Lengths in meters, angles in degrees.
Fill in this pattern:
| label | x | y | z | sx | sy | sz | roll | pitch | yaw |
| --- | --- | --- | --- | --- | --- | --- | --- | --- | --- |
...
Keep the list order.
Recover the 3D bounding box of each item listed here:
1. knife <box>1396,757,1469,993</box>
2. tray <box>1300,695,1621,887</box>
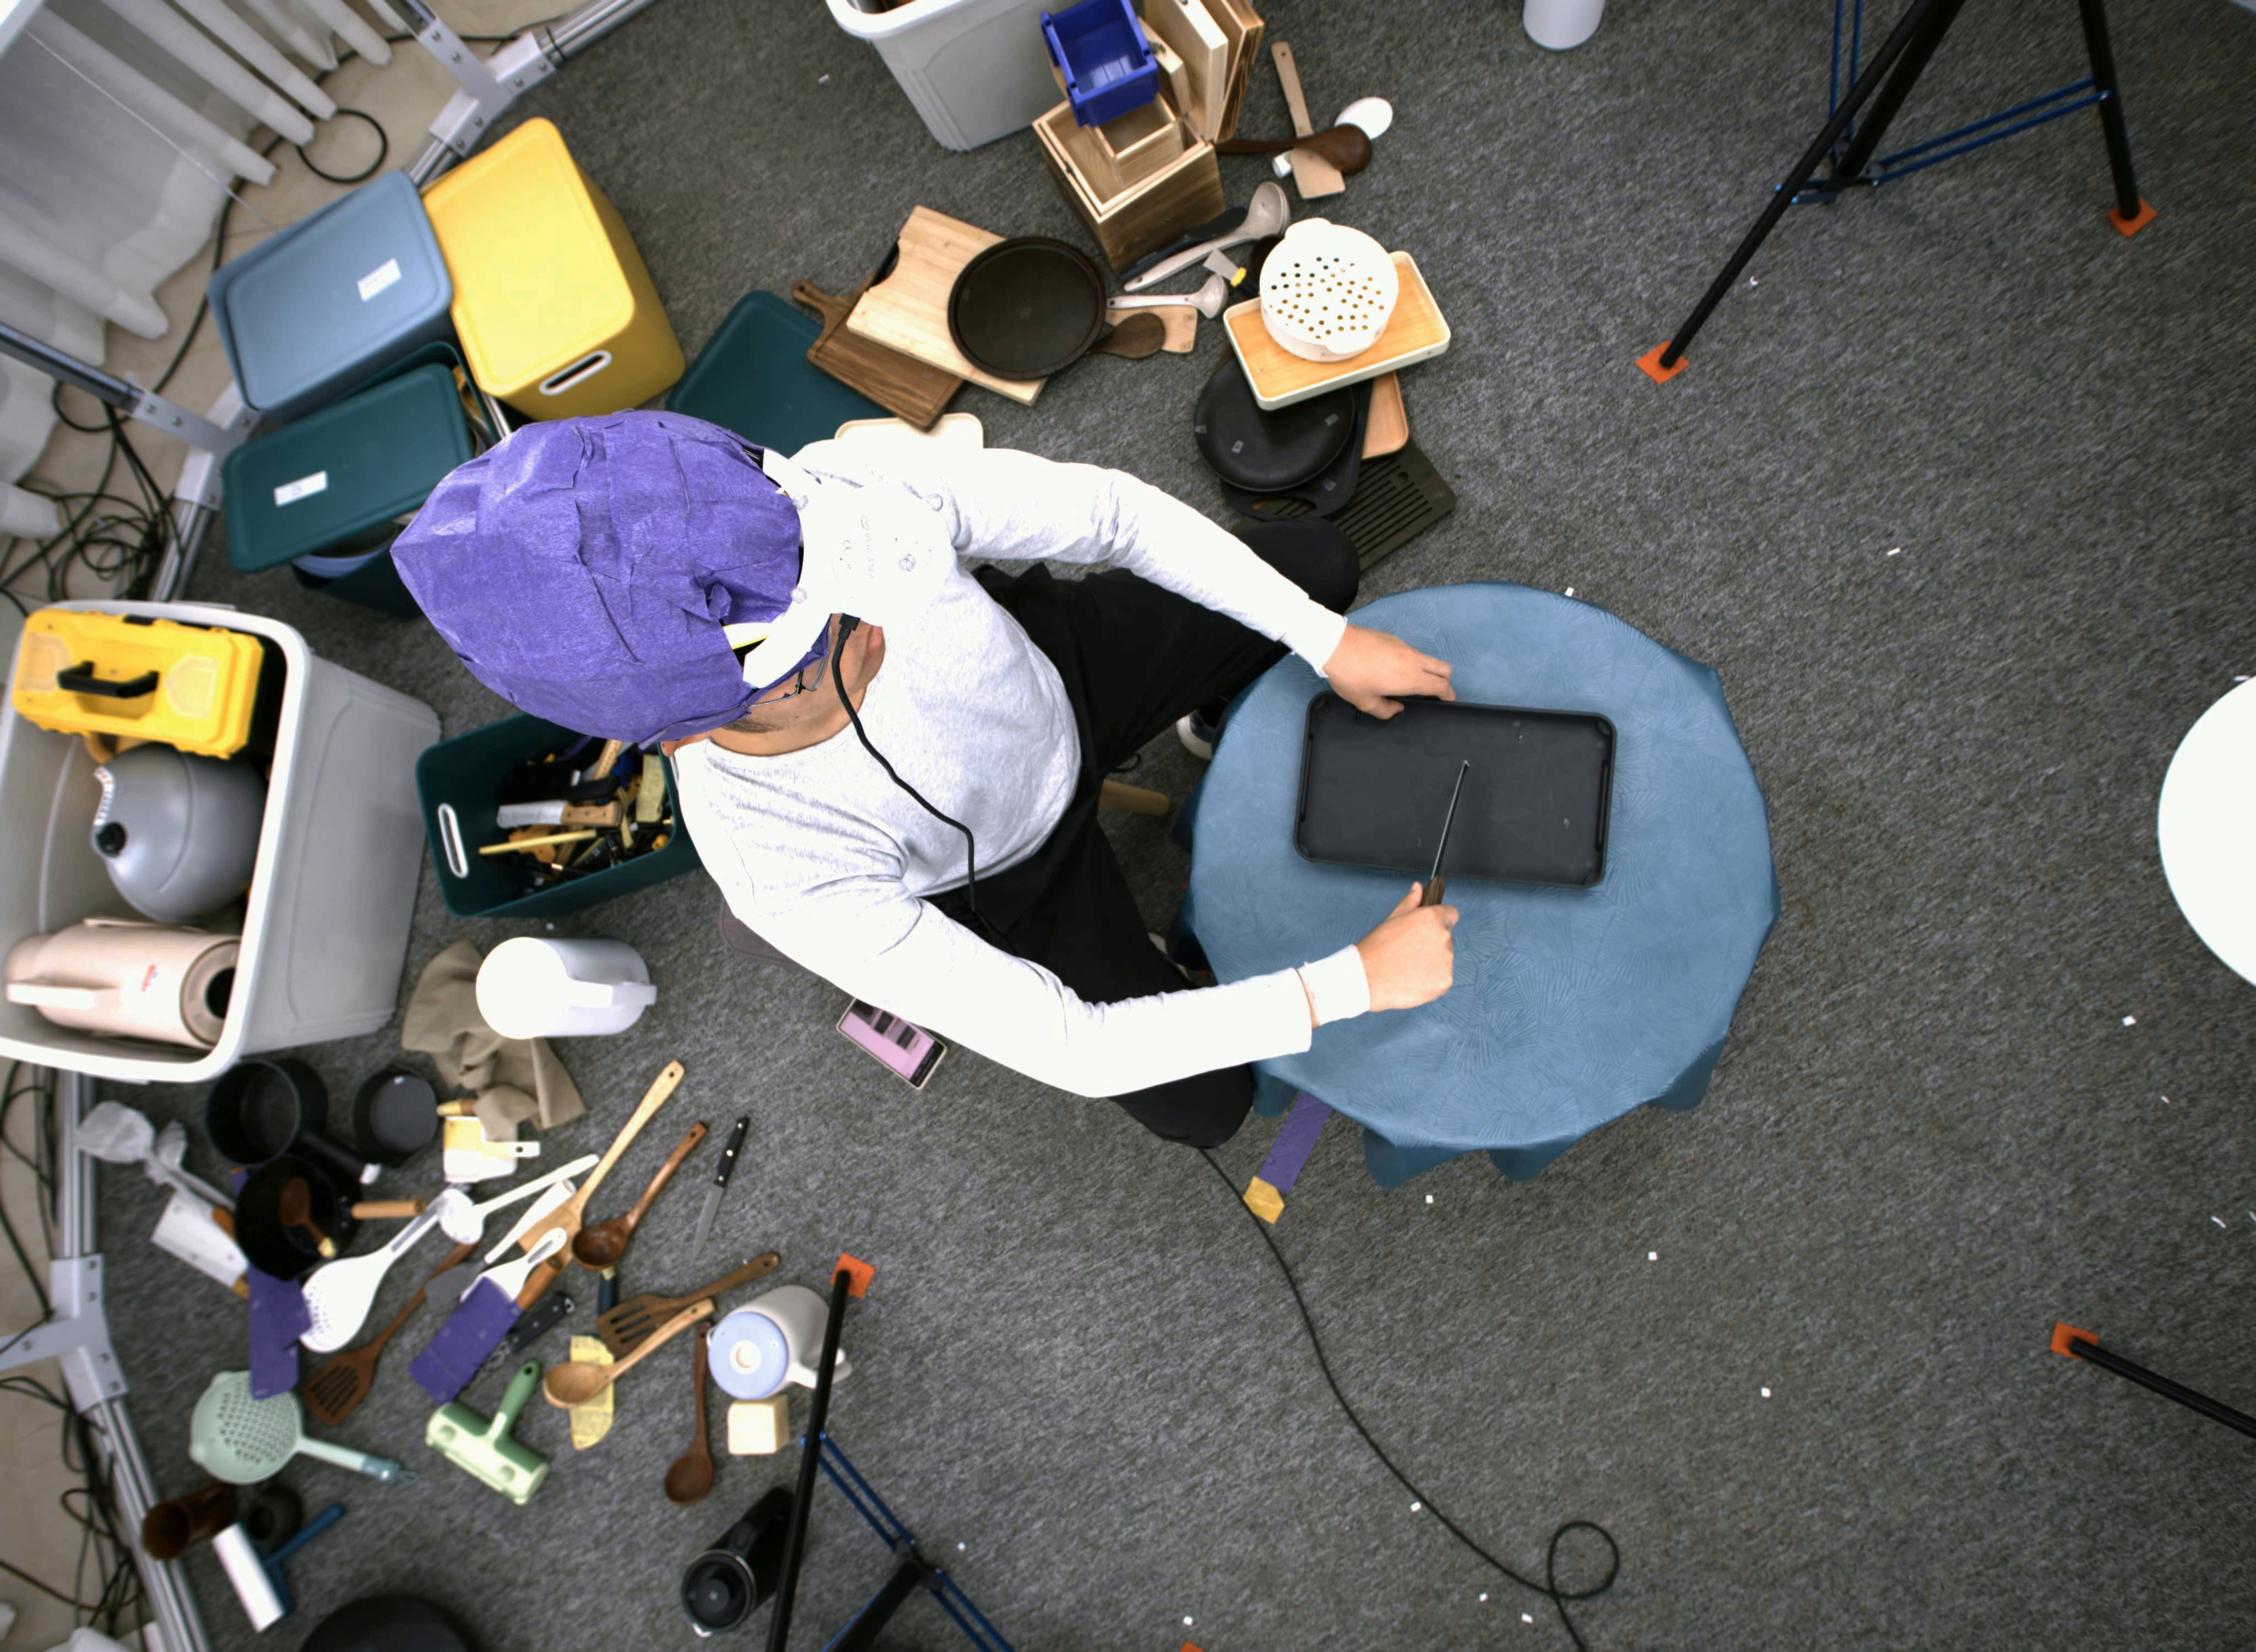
| label | x | y | z | sx | sy | sz | roll | pitch | yaw |
| --- | --- | --- | --- | --- | --- | --- | --- | --- | --- |
| knife | 0.305 | 0.040 | 1.356 | 0.020 | 0.051 | 0.282 | 20 | 61 | 3 |
| tray | 0.344 | -0.039 | 1.434 | 0.319 | 0.037 | 0.183 | 4 | 87 | 11 |
